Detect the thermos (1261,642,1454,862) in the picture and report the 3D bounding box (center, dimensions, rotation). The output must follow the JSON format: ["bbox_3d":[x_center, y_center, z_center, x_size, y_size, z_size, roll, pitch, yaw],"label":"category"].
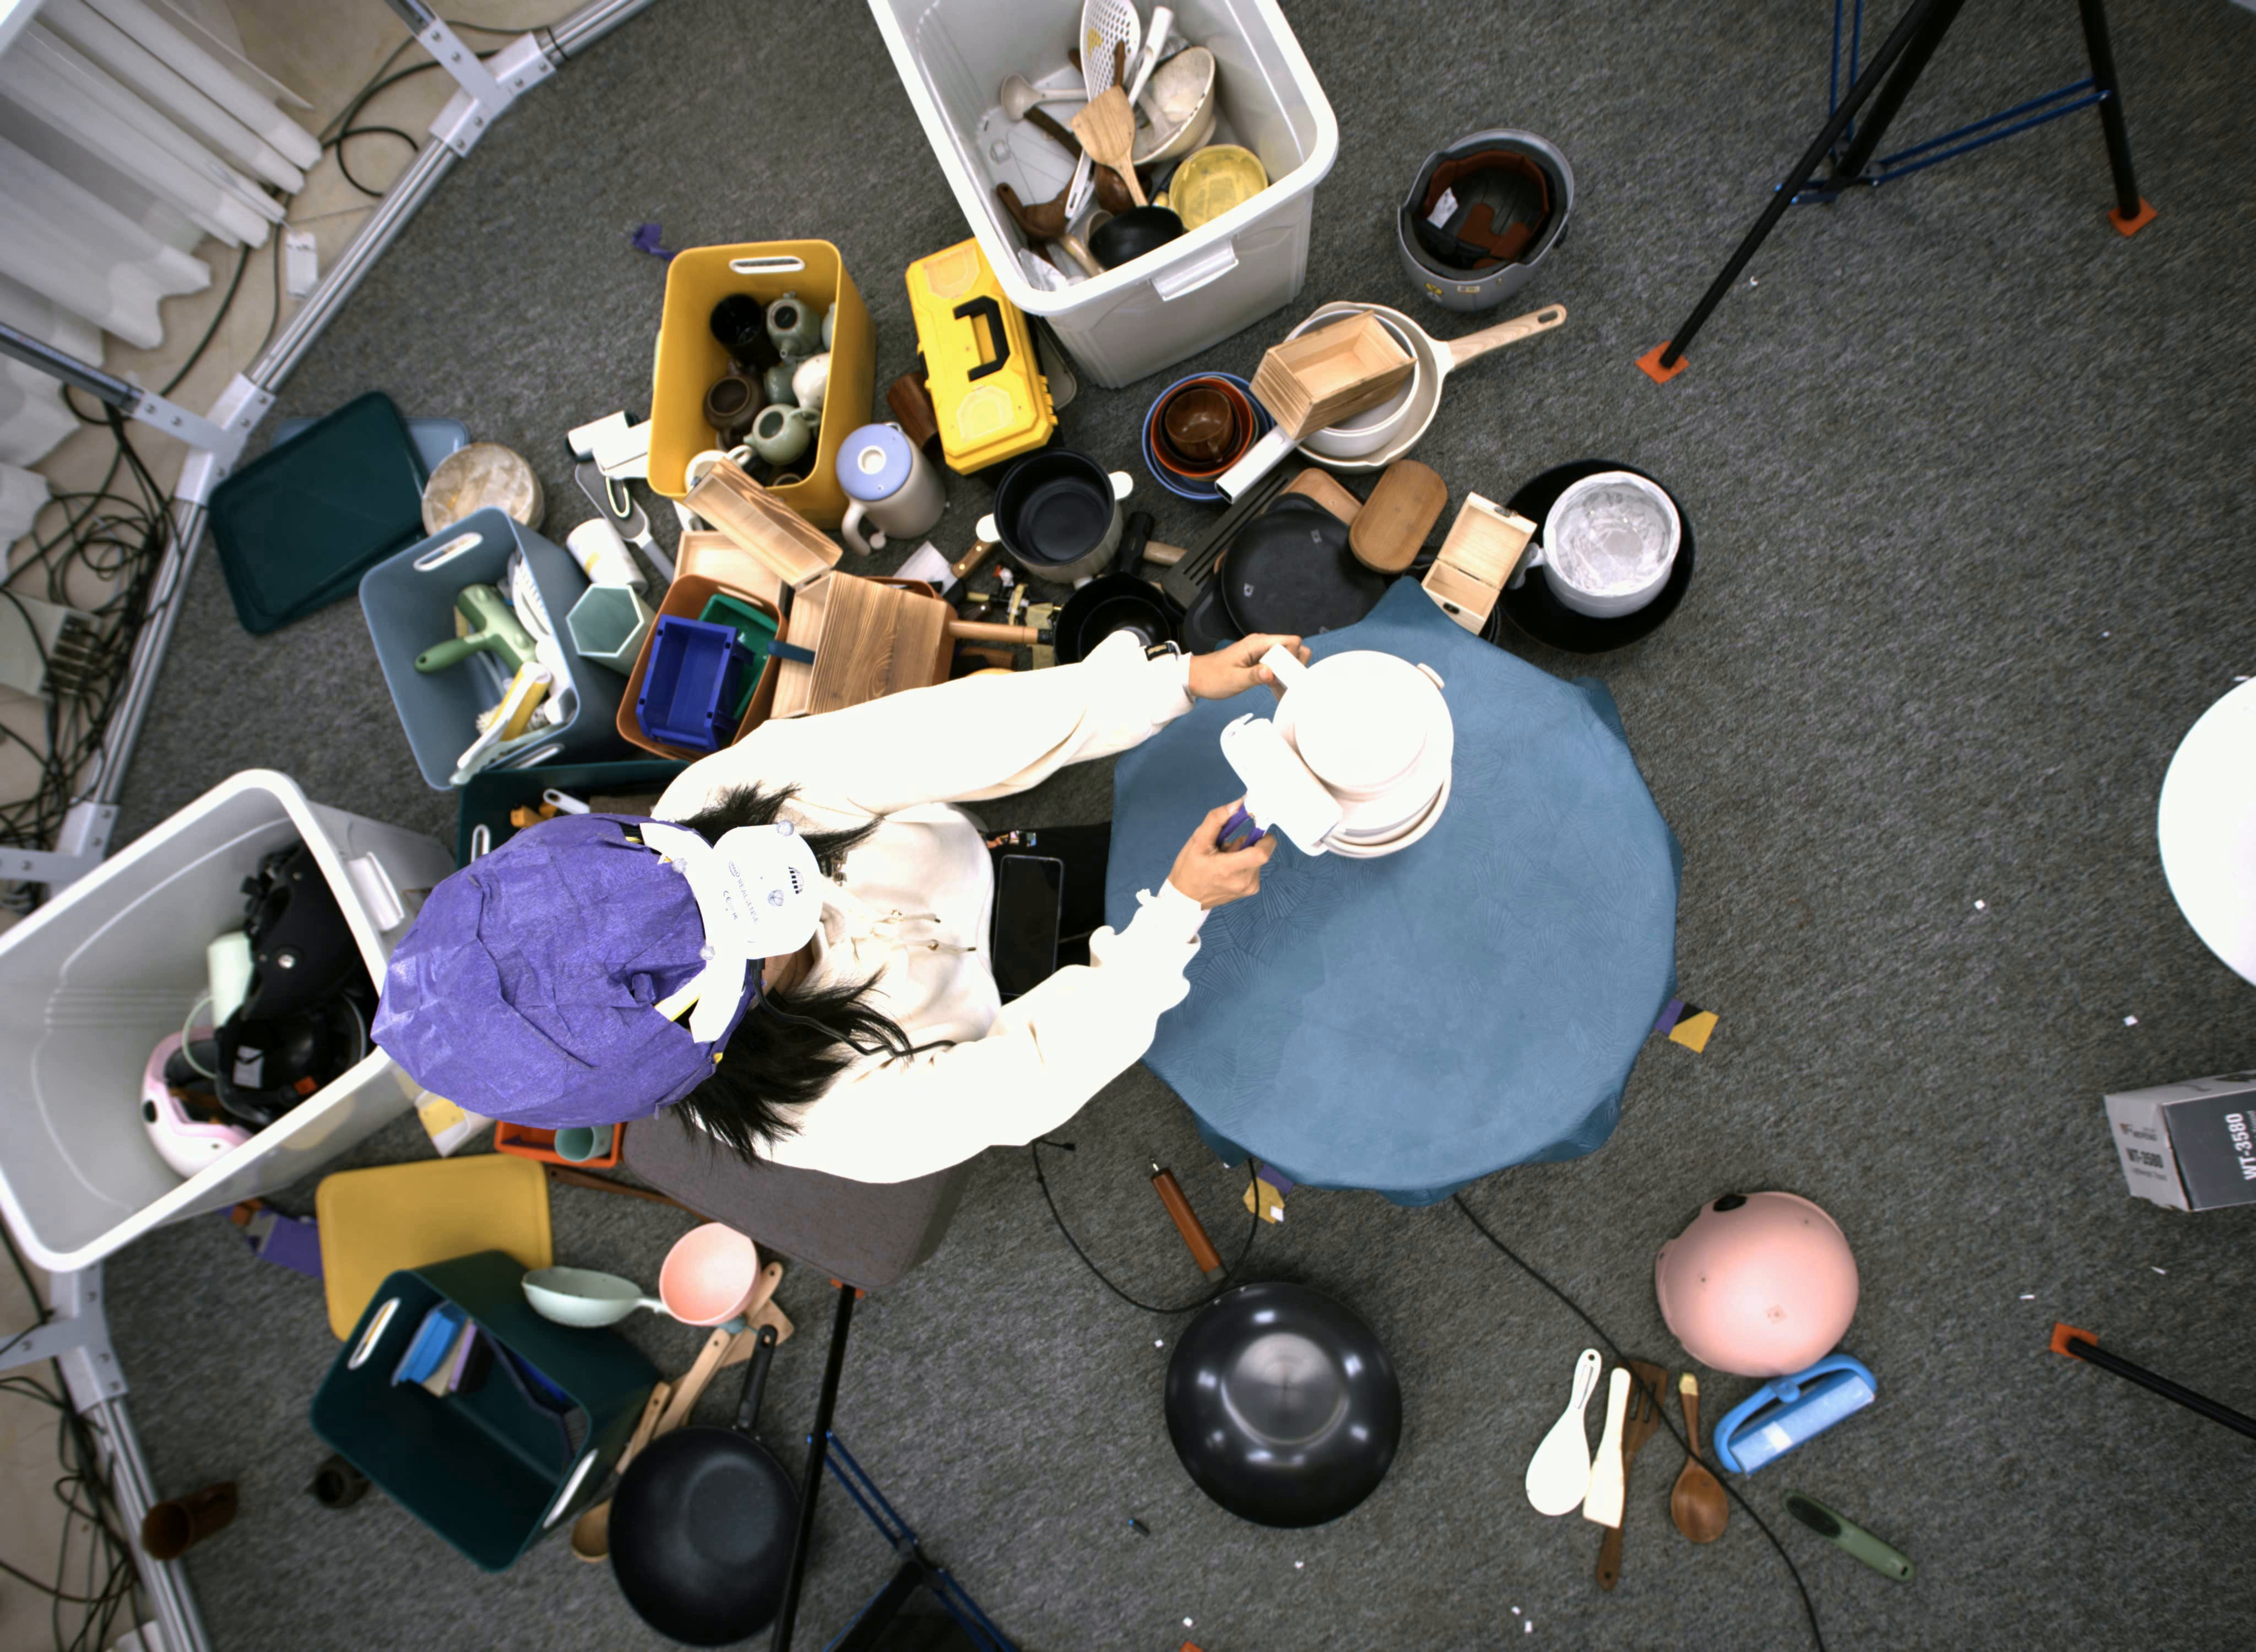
[{"bbox_3d":[0.209,-0.075,1.279,0.176,0.407,0.206,-45,79,4],"label":"thermos"}]

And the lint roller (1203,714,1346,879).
[{"bbox_3d":[0.099,-0.003,1.187,0.132,0.049,0.185,52,138,10],"label":"lint roller"}]
